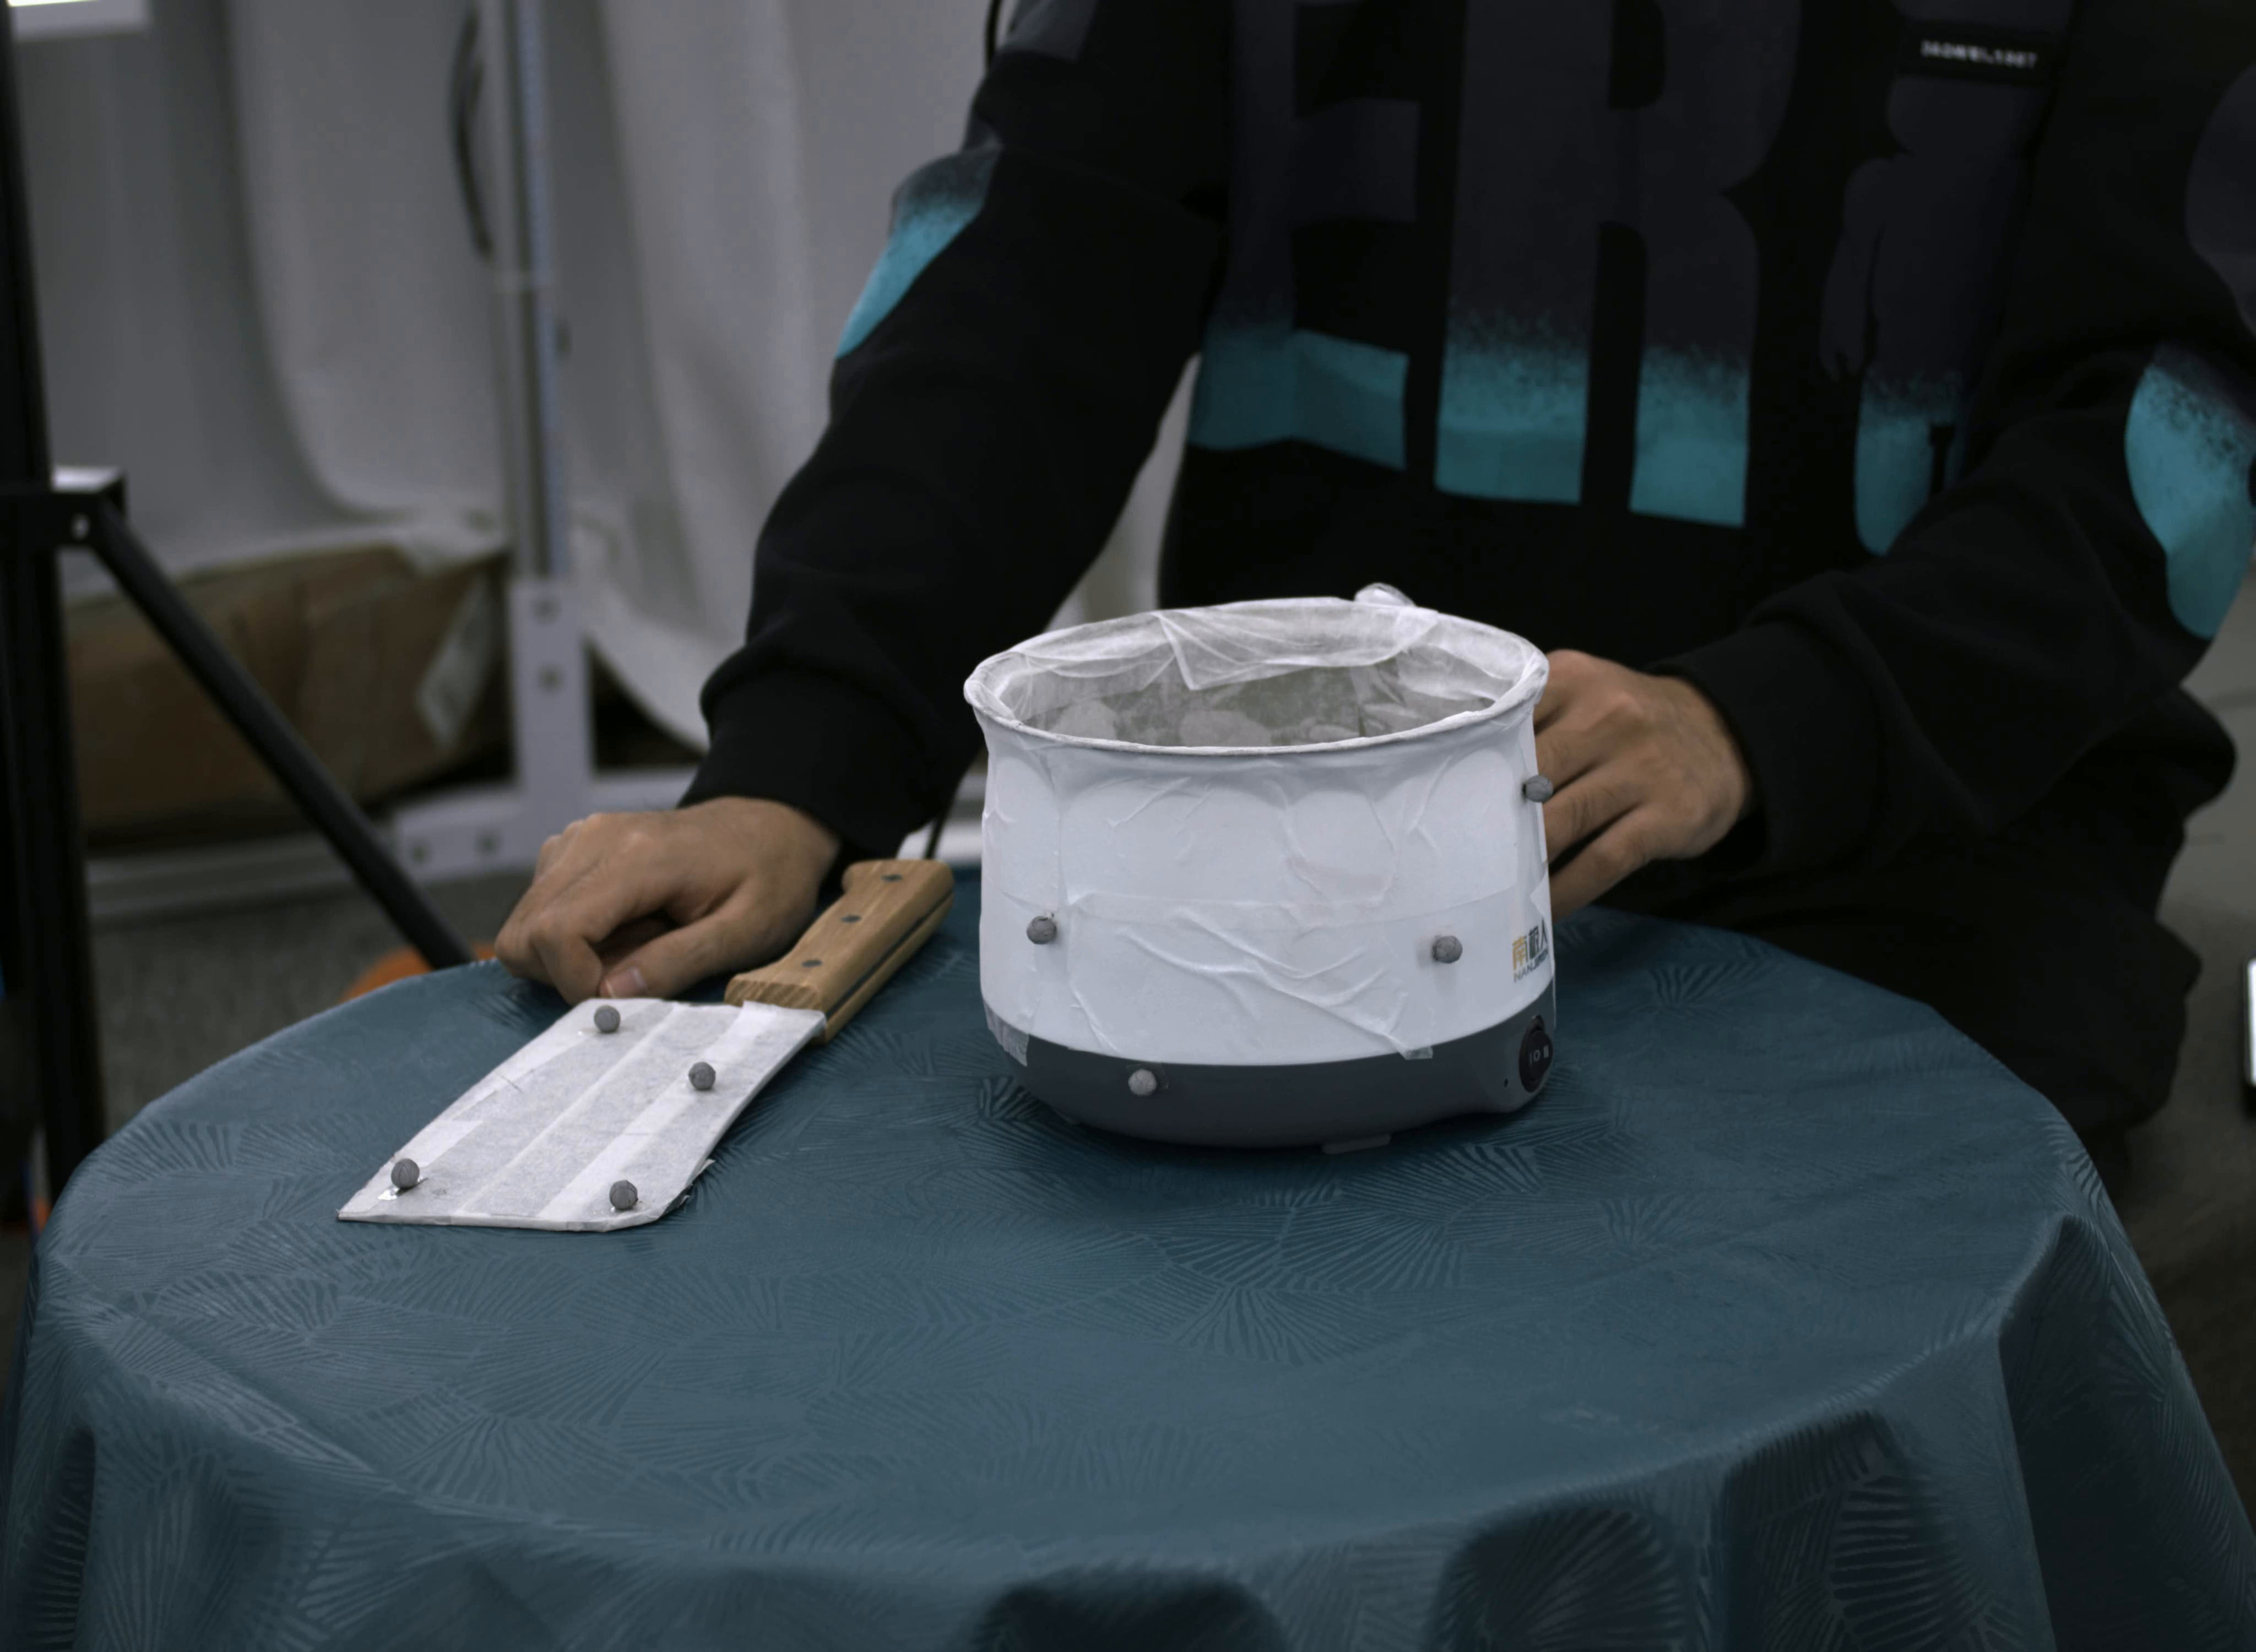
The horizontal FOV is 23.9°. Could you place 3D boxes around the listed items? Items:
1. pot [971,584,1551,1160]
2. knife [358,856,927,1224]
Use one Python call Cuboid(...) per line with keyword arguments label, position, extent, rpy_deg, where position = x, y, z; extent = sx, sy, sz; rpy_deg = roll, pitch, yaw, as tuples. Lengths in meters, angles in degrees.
Cuboid(label="pot", position=(0.053, 0.008, 1.652), extent=(0.181, 0.136, 0.230), rpy_deg=(5, 18, 23))
Cuboid(label="knife", position=(-0.135, 0.068, 1.688), extent=(0.115, 0.022, 0.311), rpy_deg=(3, 20, 22))
